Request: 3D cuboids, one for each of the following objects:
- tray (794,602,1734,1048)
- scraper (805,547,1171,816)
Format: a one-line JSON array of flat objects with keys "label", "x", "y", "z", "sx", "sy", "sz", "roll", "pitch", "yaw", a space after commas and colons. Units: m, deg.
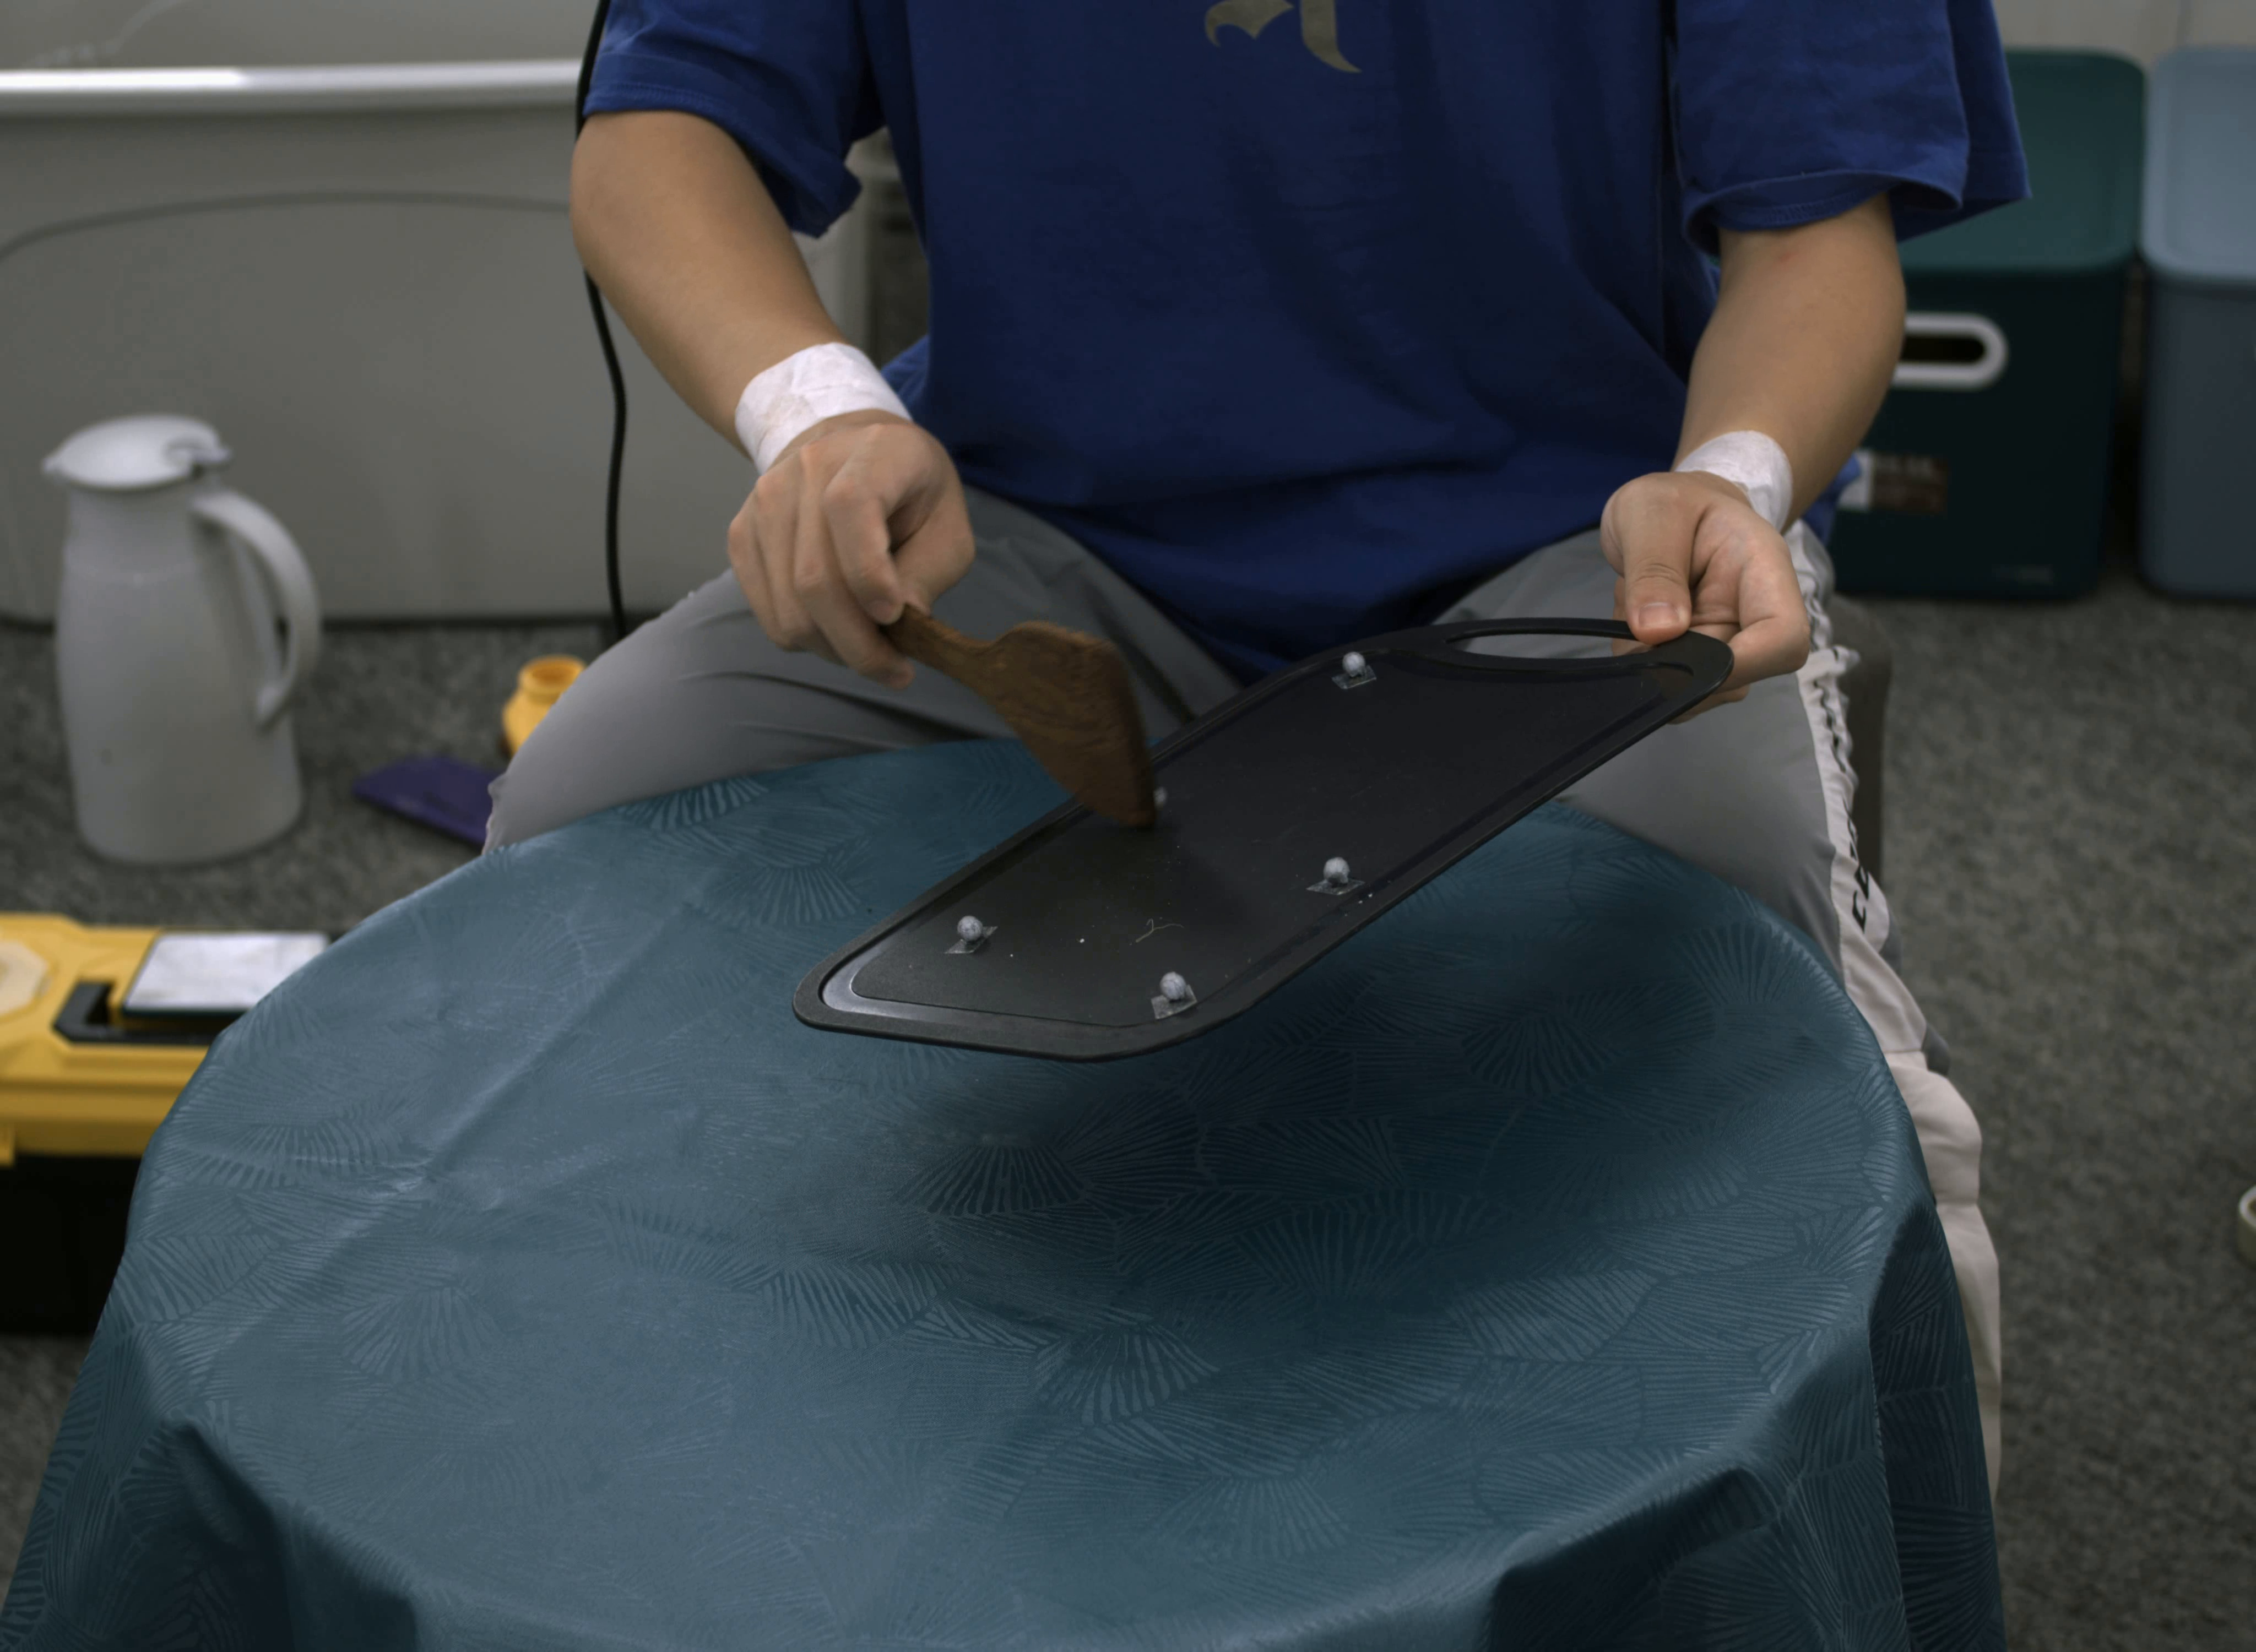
[{"label": "tray", "x": 0.051, "y": -0.007, "z": 1.869, "sx": 0.330, "sy": 0.010, "sz": 0.209, "roll": -32, "pitch": 22, "yaw": -36}, {"label": "scraper", "x": -0.054, "y": -0.060, "z": 1.951, "sx": 0.011, "sy": 0.075, "sz": 0.211, "roll": -29, "pitch": 31, "yaw": -25}]
